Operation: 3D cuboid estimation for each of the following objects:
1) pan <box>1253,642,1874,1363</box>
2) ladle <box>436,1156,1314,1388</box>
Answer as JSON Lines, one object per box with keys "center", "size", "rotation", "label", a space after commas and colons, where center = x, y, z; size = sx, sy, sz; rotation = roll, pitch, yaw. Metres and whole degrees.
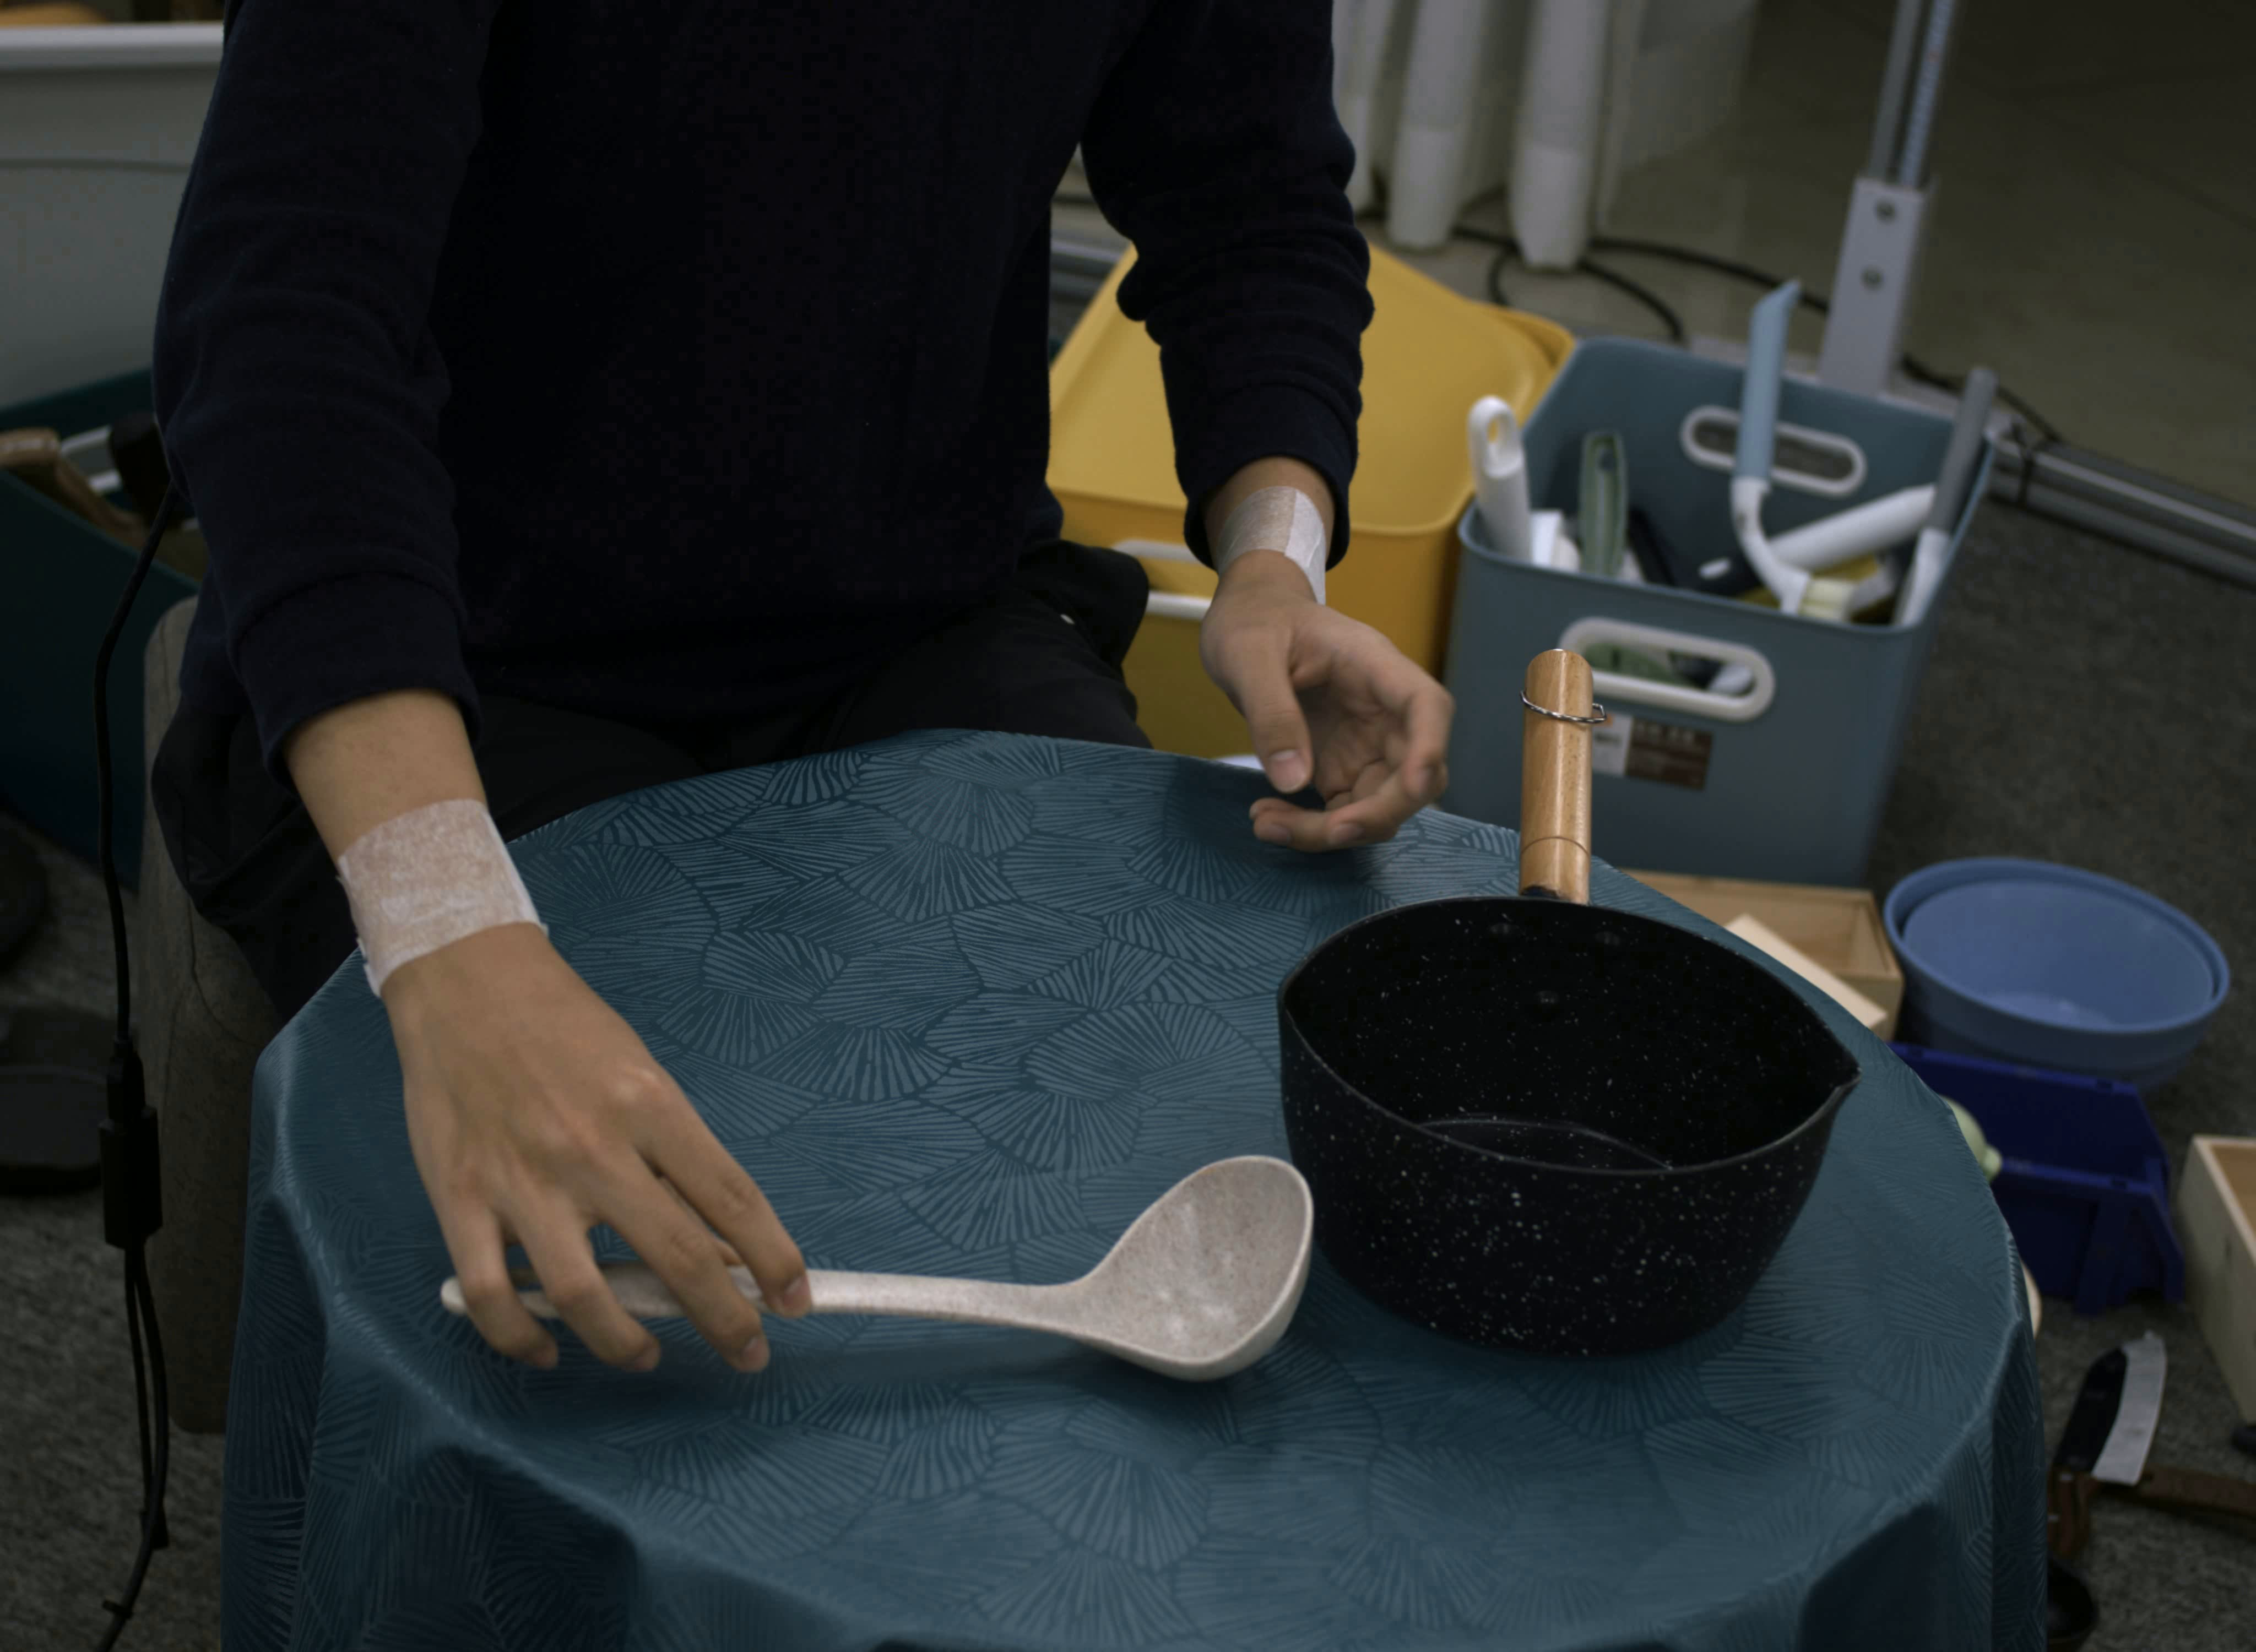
{"center": [0.145, 0.057, 1.847], "size": [0.207, 0.108, 0.345], "rotation": [5, 28, 0], "label": "pan"}
{"center": [-0.076, 0.133, 1.665], "size": [0.273, 0.069, 0.090], "rotation": [6, 35, -19], "label": "ladle"}
